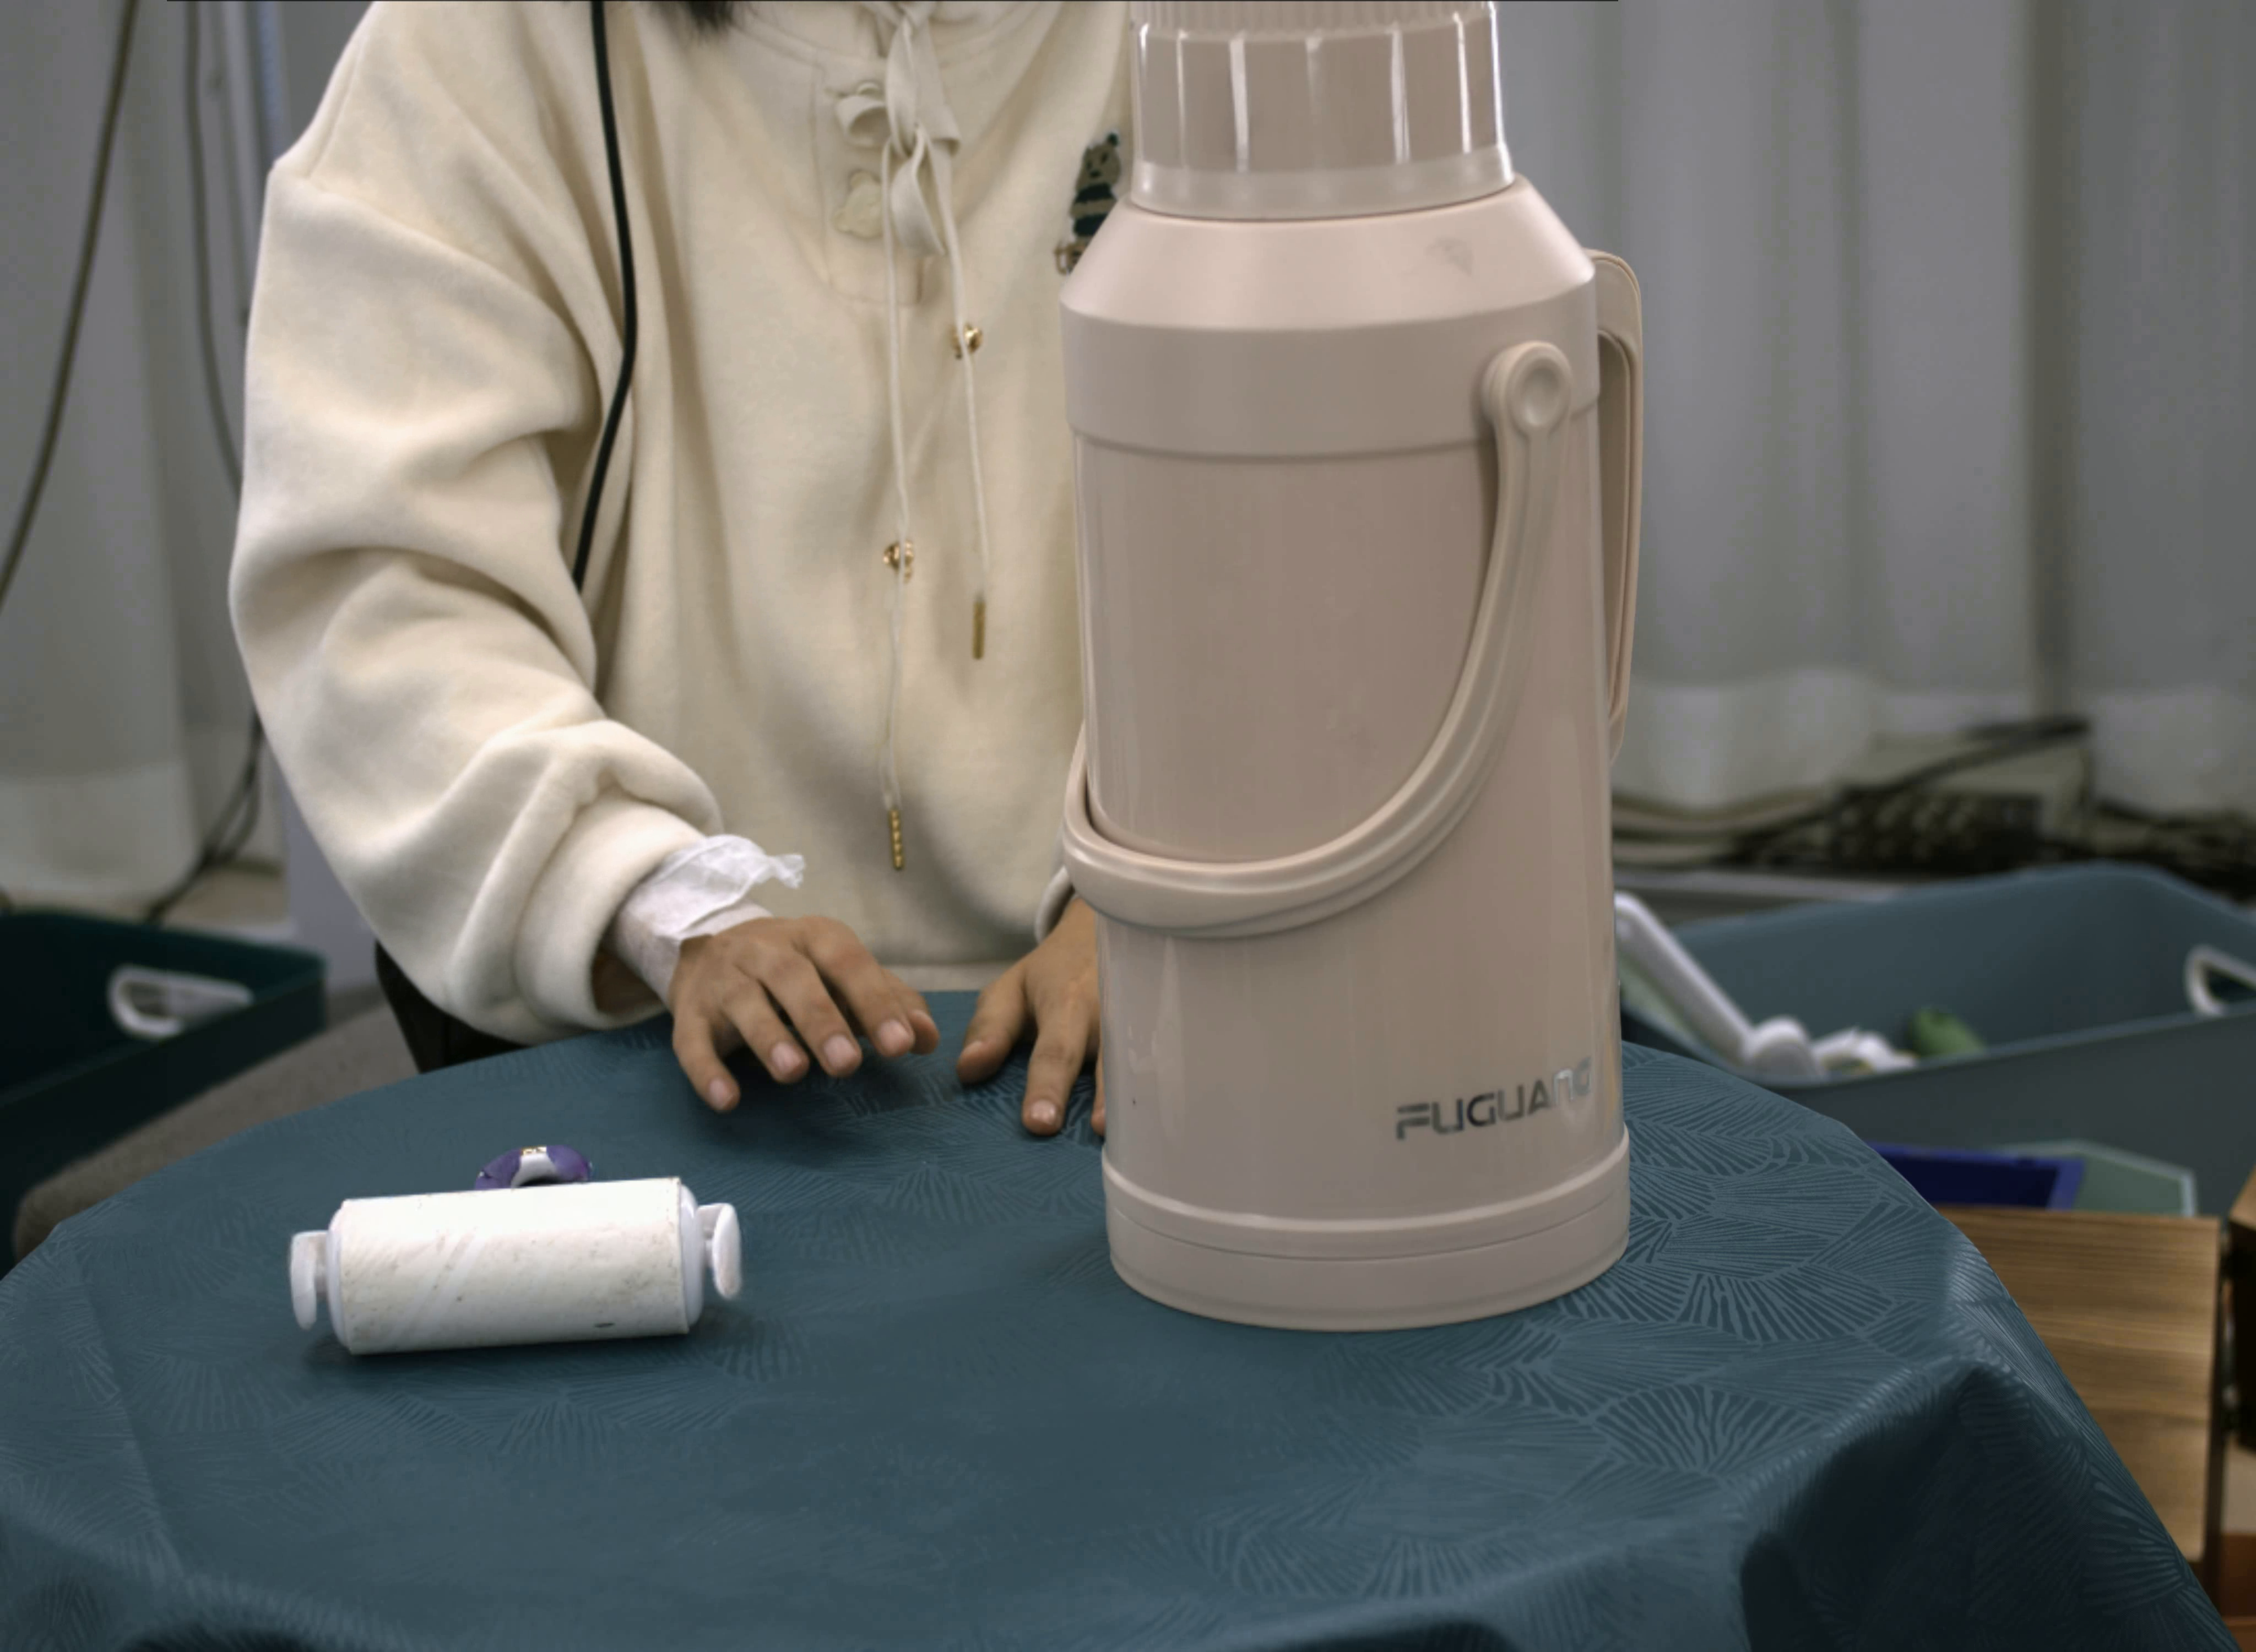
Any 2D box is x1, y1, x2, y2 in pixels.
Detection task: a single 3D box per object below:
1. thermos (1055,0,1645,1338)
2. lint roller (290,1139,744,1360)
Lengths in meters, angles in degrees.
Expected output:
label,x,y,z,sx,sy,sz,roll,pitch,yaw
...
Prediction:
label,x,y,z,sx,sy,sz,roll,pitch,yaw
thermos,0.074,-0.067,1.617,0.206,0.405,0.176,-13,17,-38
lint roller,-0.181,0.112,1.667,0.132,0.050,0.182,-4,17,-1
